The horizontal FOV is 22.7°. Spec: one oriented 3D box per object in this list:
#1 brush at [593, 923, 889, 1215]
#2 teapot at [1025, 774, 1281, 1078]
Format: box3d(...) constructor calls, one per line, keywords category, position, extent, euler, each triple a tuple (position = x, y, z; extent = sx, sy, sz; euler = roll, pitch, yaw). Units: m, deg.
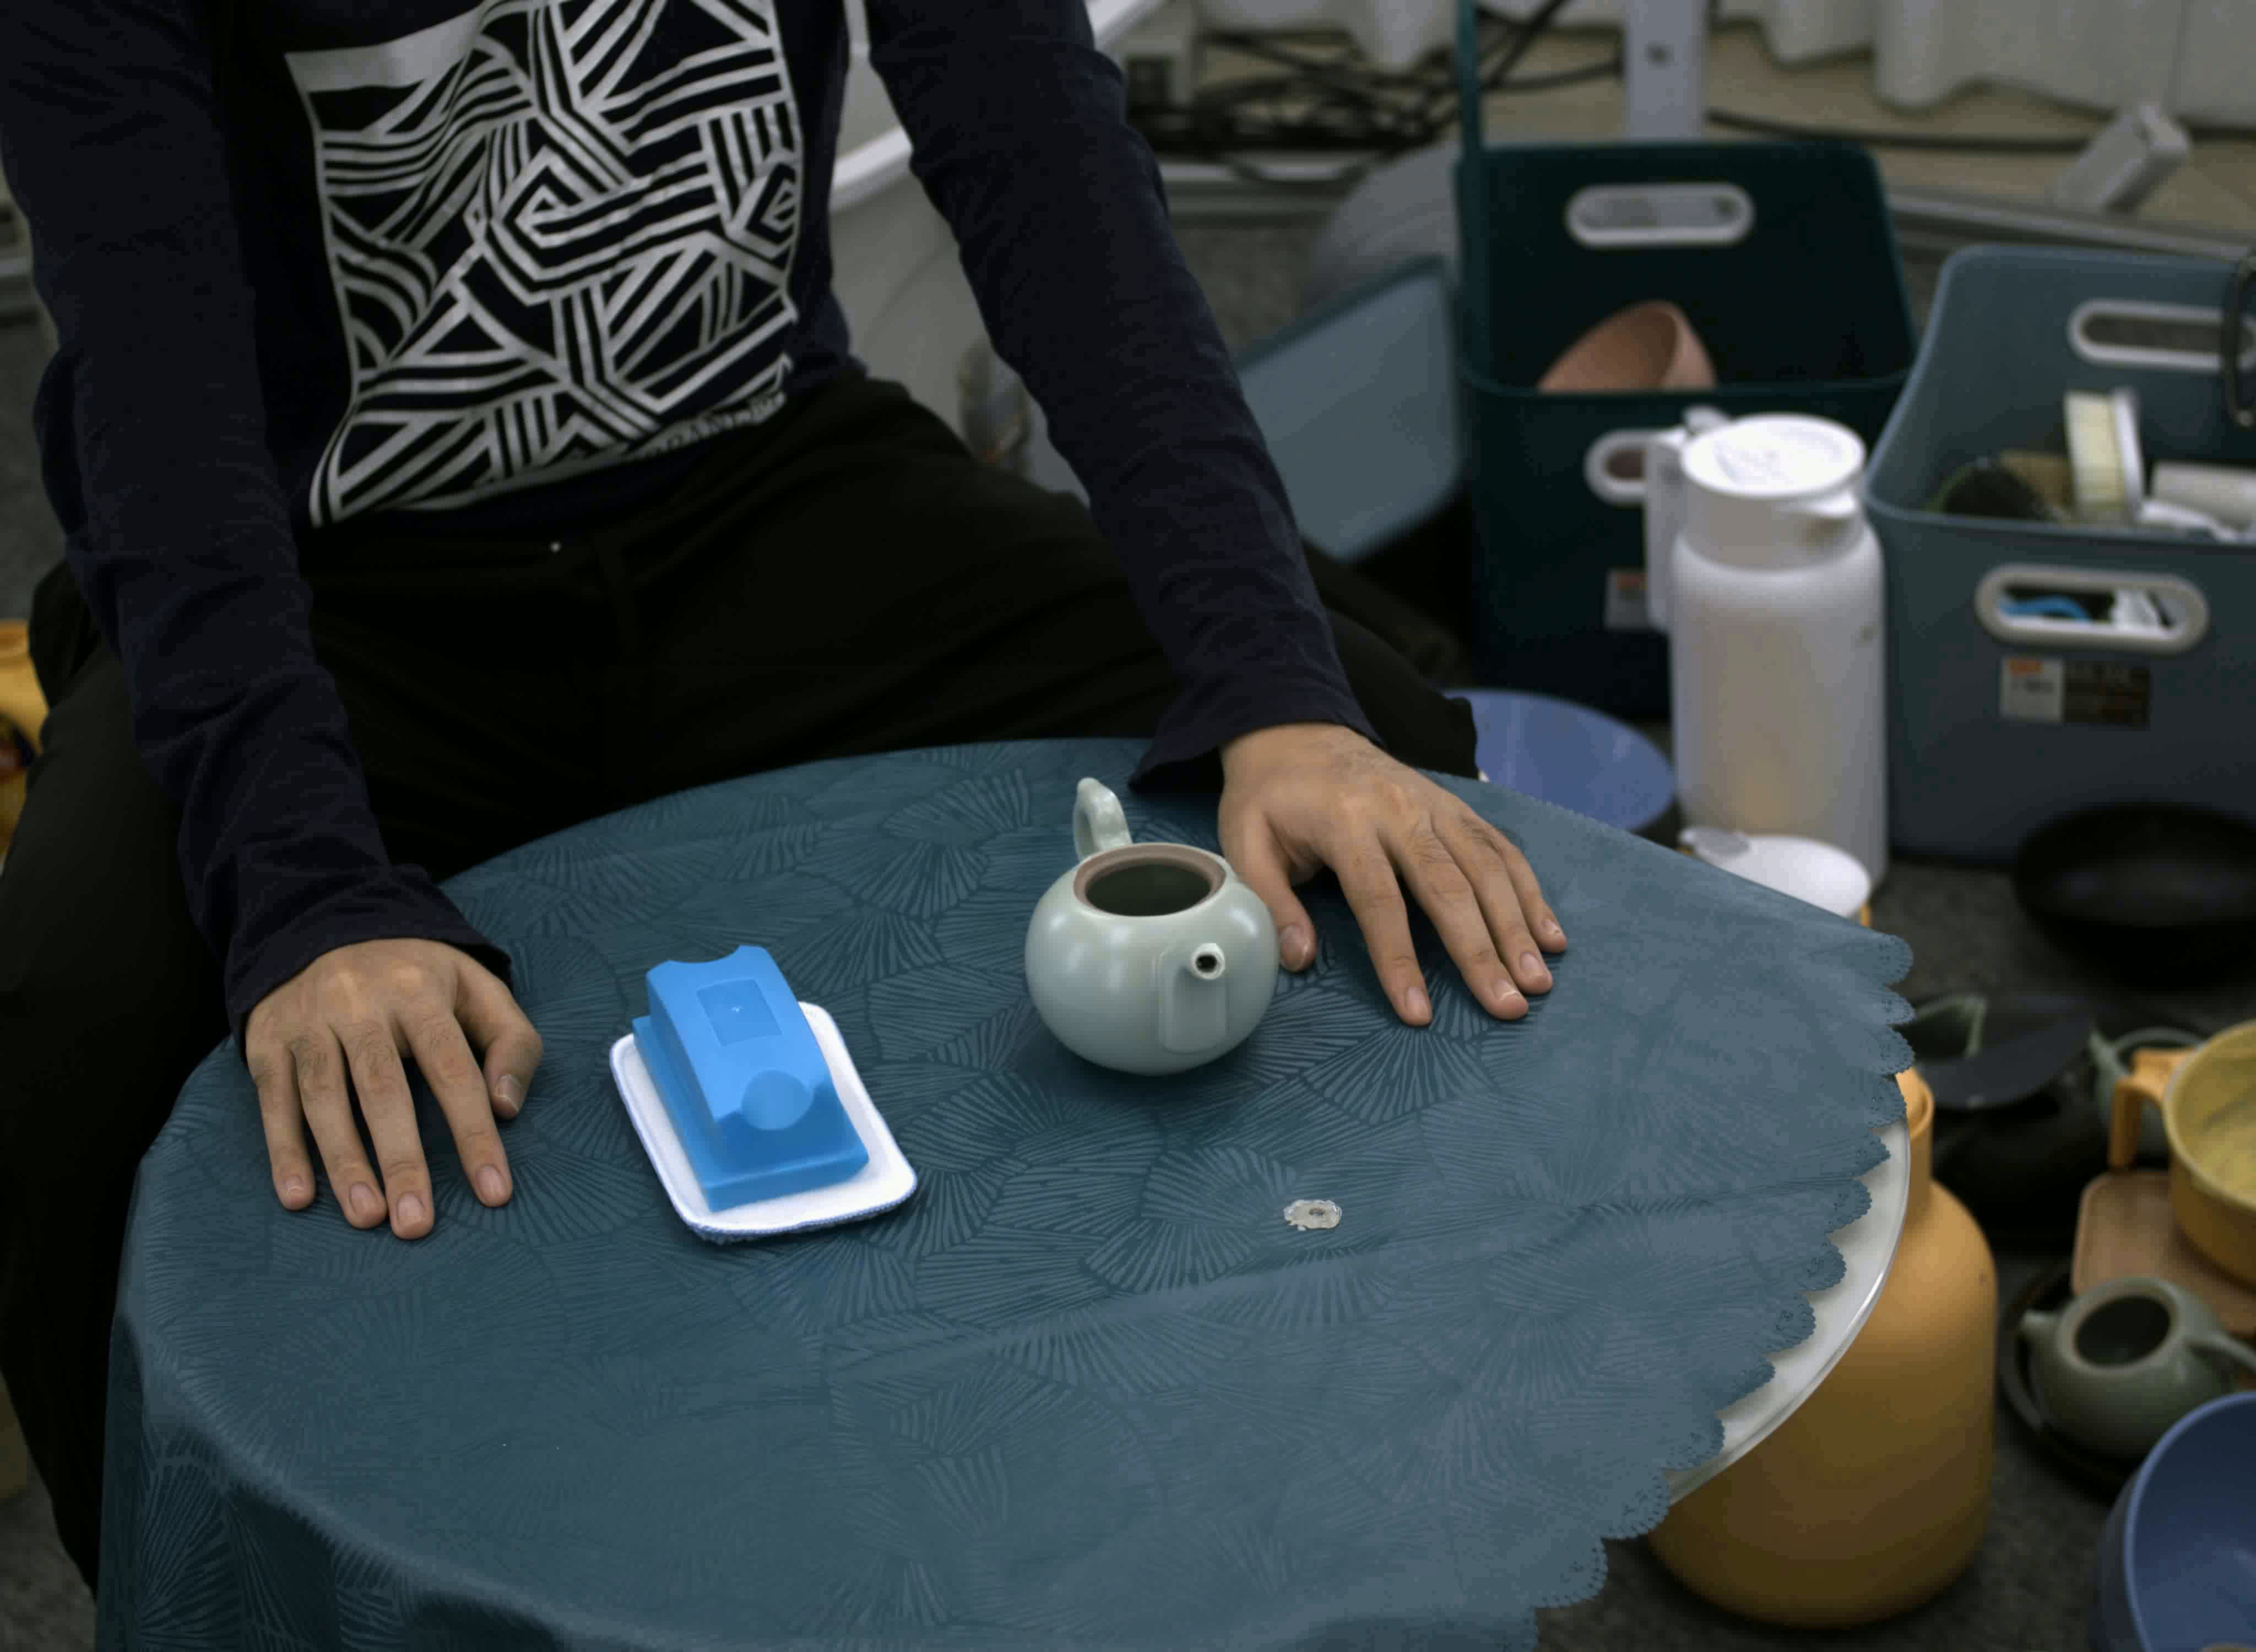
box3d(category="brush", position=(-0.130, 0.078, 1.891), extent=(0.084, 0.055, 0.145), euler=(-6, 30, -14))
box3d(category="teapot", position=(0.009, 0.044, 1.929), extent=(0.088, 0.074, 0.145), euler=(-9, 31, -12))
